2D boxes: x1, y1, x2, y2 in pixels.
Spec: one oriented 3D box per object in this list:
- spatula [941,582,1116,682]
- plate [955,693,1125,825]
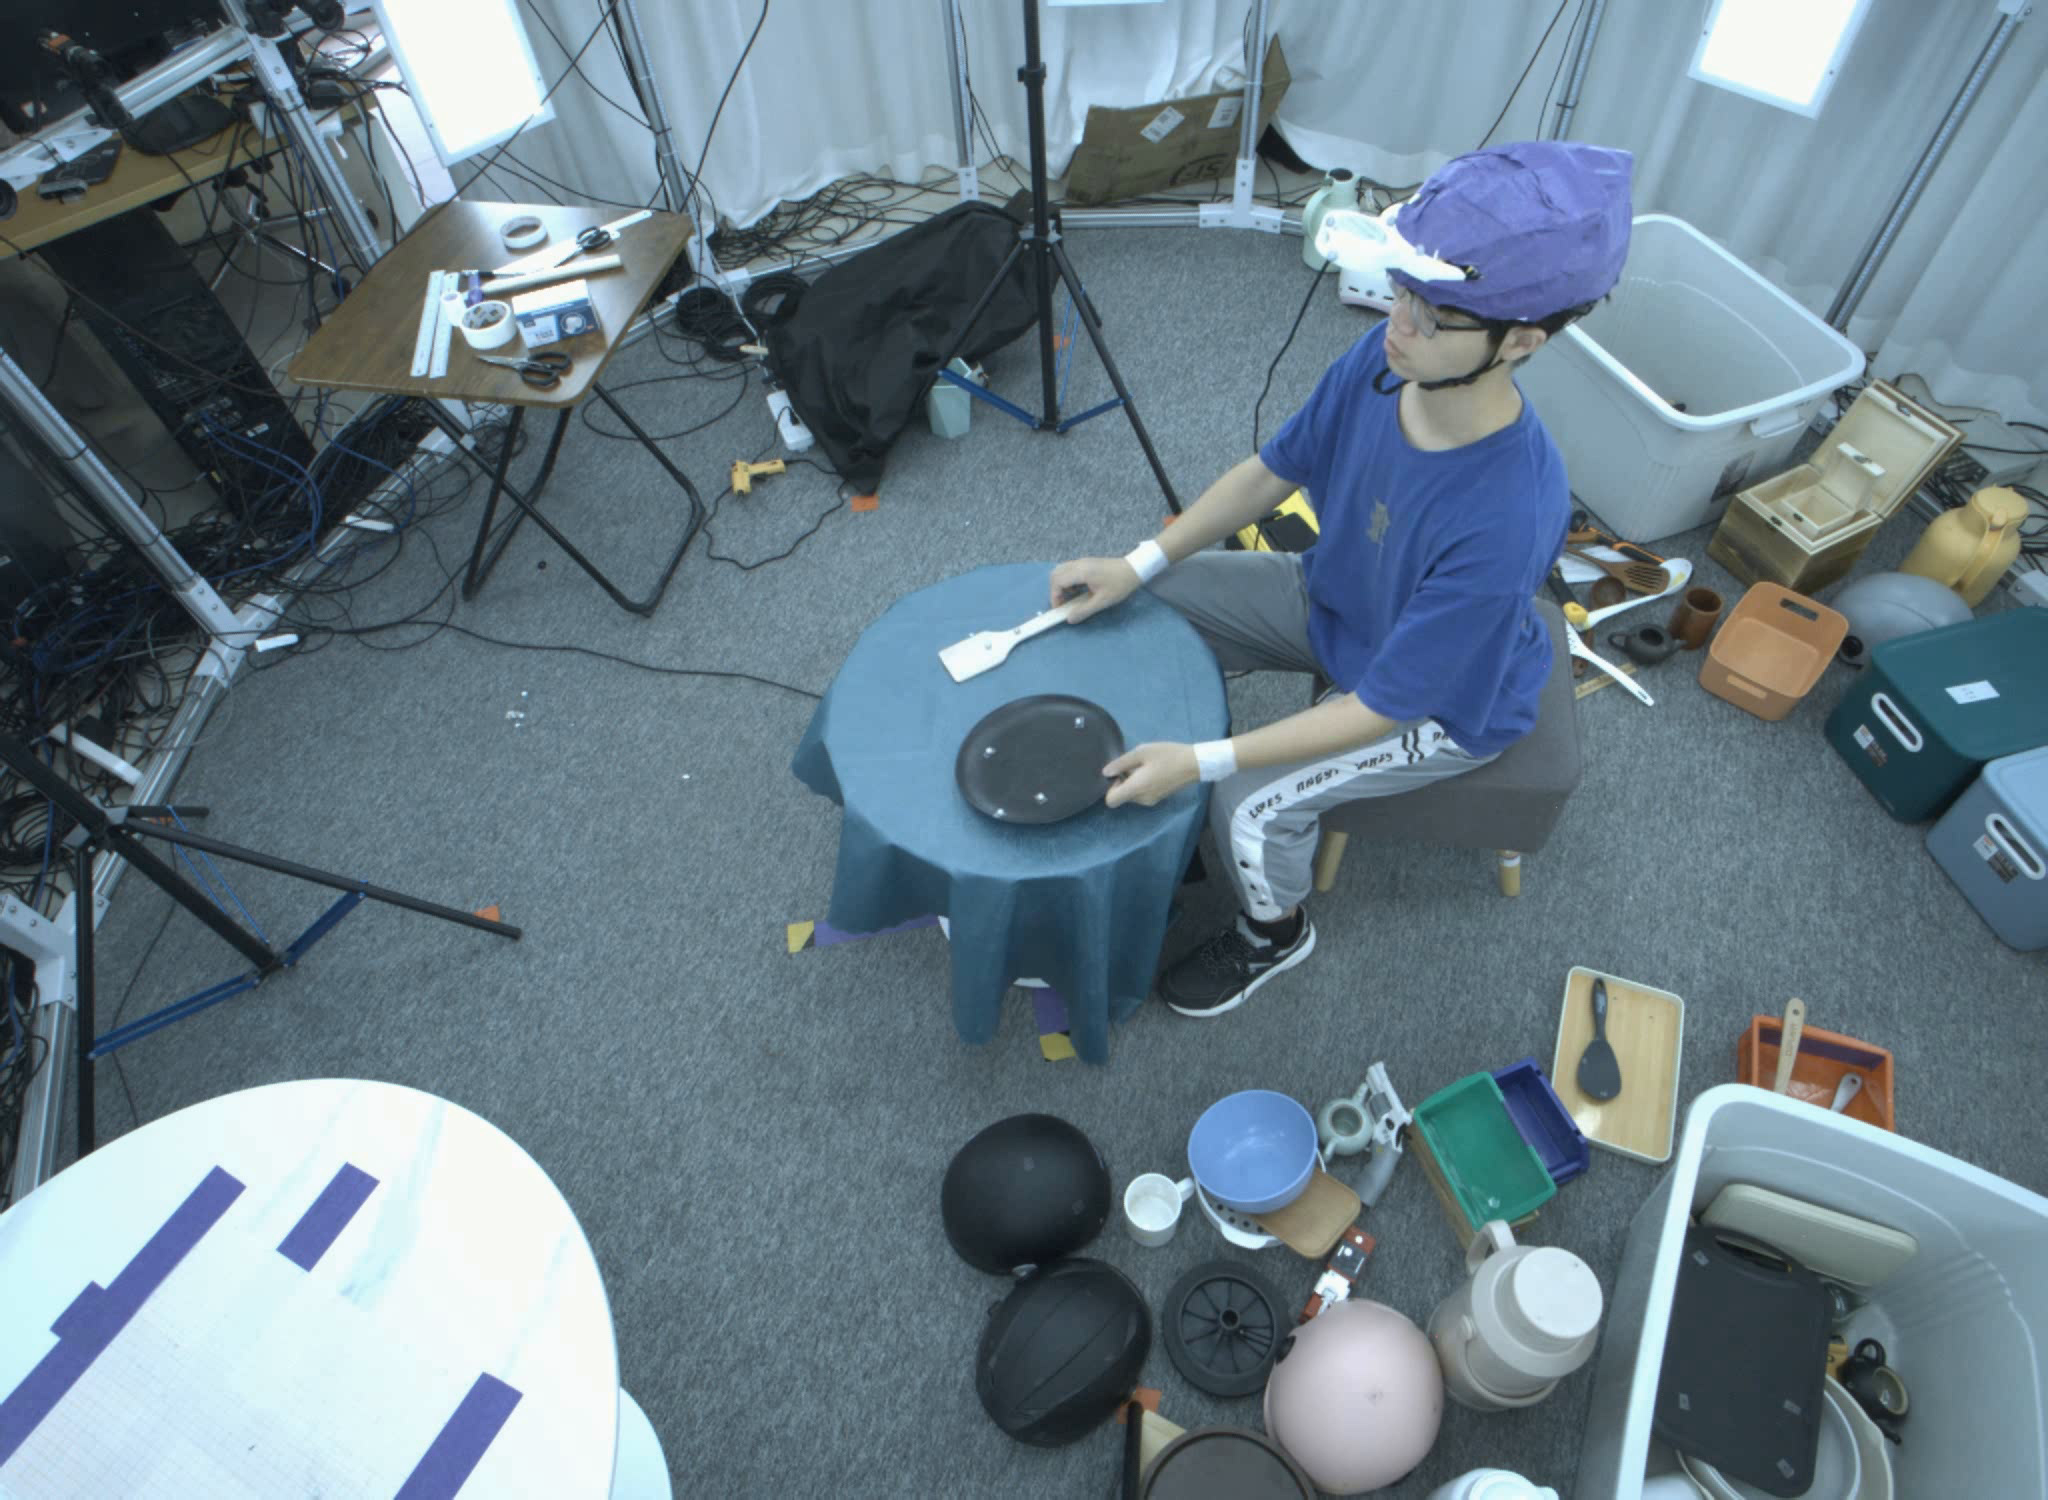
[{"bbox_3d":[0.013,-0.191,1.900,0.295,0.011,0.071,-28,58,-11],"label":"spatula"},{"bbox_3d":[0.023,0.014,1.735,0.243,0.024,0.242,-6,48,8],"label":"plate"}]
